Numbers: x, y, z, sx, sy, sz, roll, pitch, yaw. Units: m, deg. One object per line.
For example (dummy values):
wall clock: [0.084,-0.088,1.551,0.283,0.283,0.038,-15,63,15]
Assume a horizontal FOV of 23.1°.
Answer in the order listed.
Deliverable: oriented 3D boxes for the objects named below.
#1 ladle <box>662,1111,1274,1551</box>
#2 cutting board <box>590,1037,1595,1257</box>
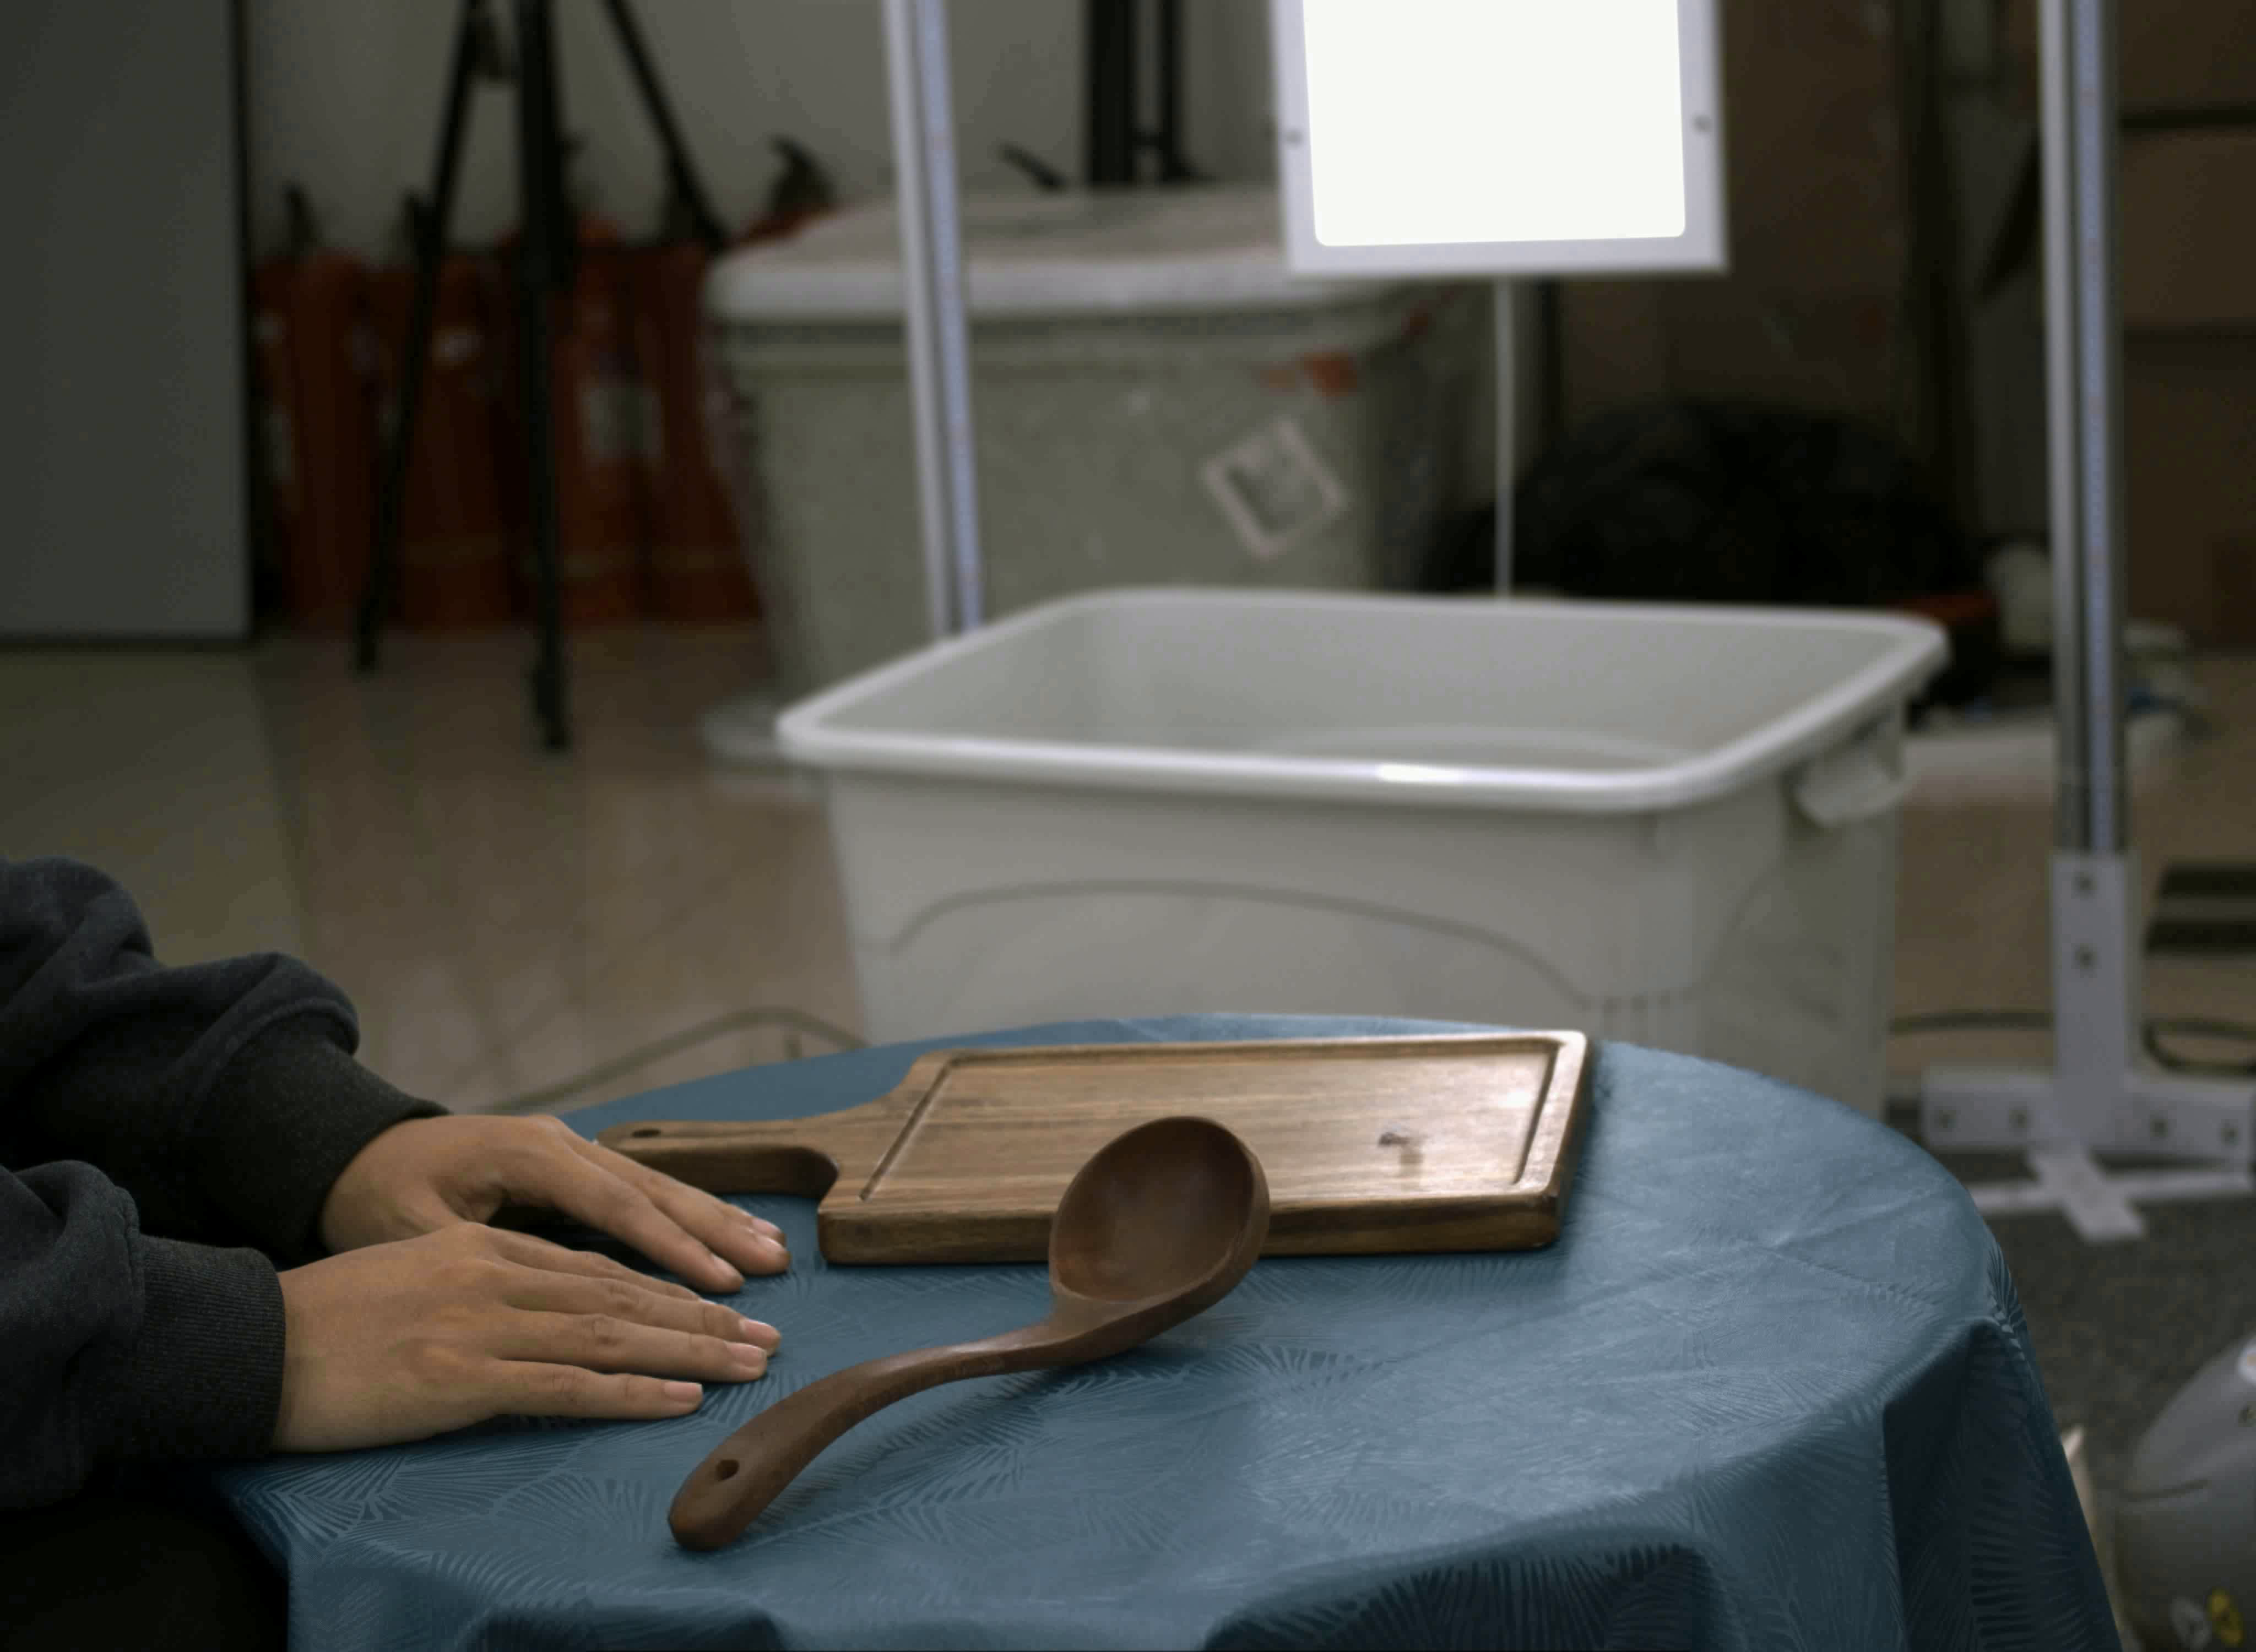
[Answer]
ladle: [-0.051,0.150,1.682,0.078,0.065,0.253,2,15,43]
cutting board: [-0.016,0.111,1.918,0.354,0.023,0.199,-2,13,11]
